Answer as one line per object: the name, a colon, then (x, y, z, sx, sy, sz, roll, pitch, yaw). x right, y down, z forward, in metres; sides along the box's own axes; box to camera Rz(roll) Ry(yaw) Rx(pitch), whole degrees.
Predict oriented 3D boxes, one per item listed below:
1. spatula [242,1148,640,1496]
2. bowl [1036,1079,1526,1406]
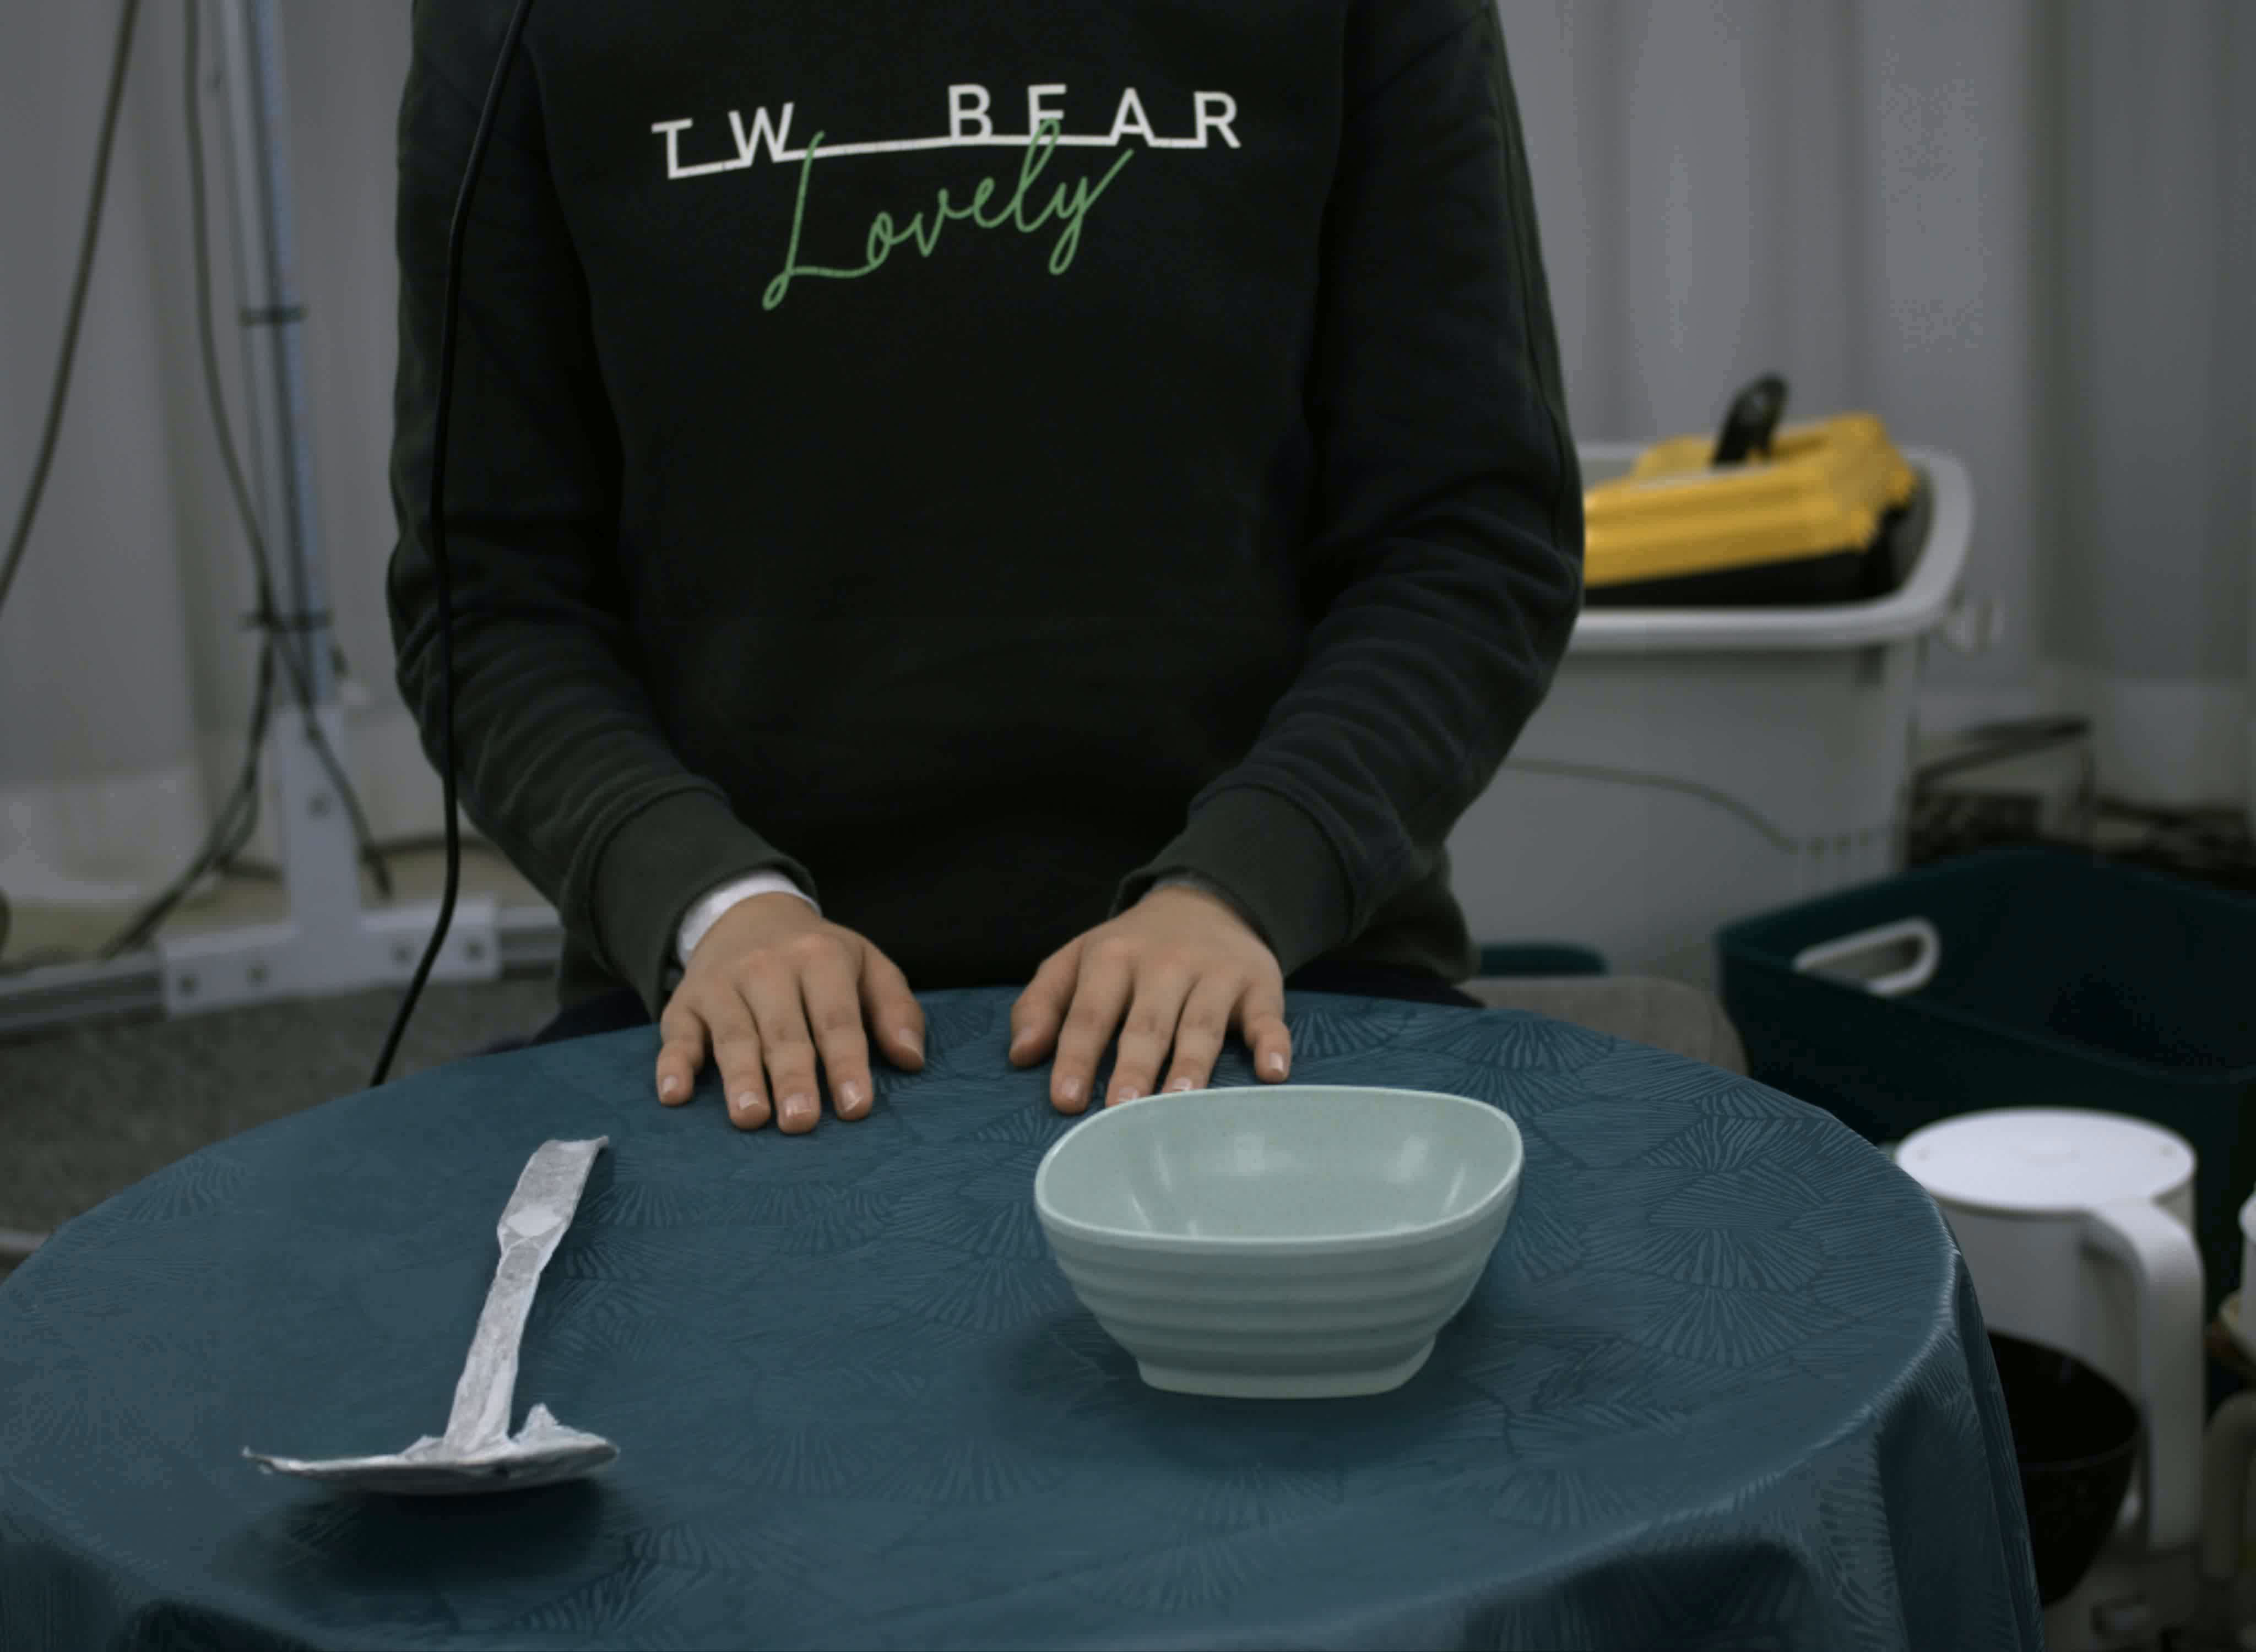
spatula: (-0.177, 0.136, 1.595, 0.098, 0.044, 0.367, -4, 15, 3)
bowl: (0.044, 0.123, 1.567, 0.151, 0.058, 0.152, 0, 17, 0)
